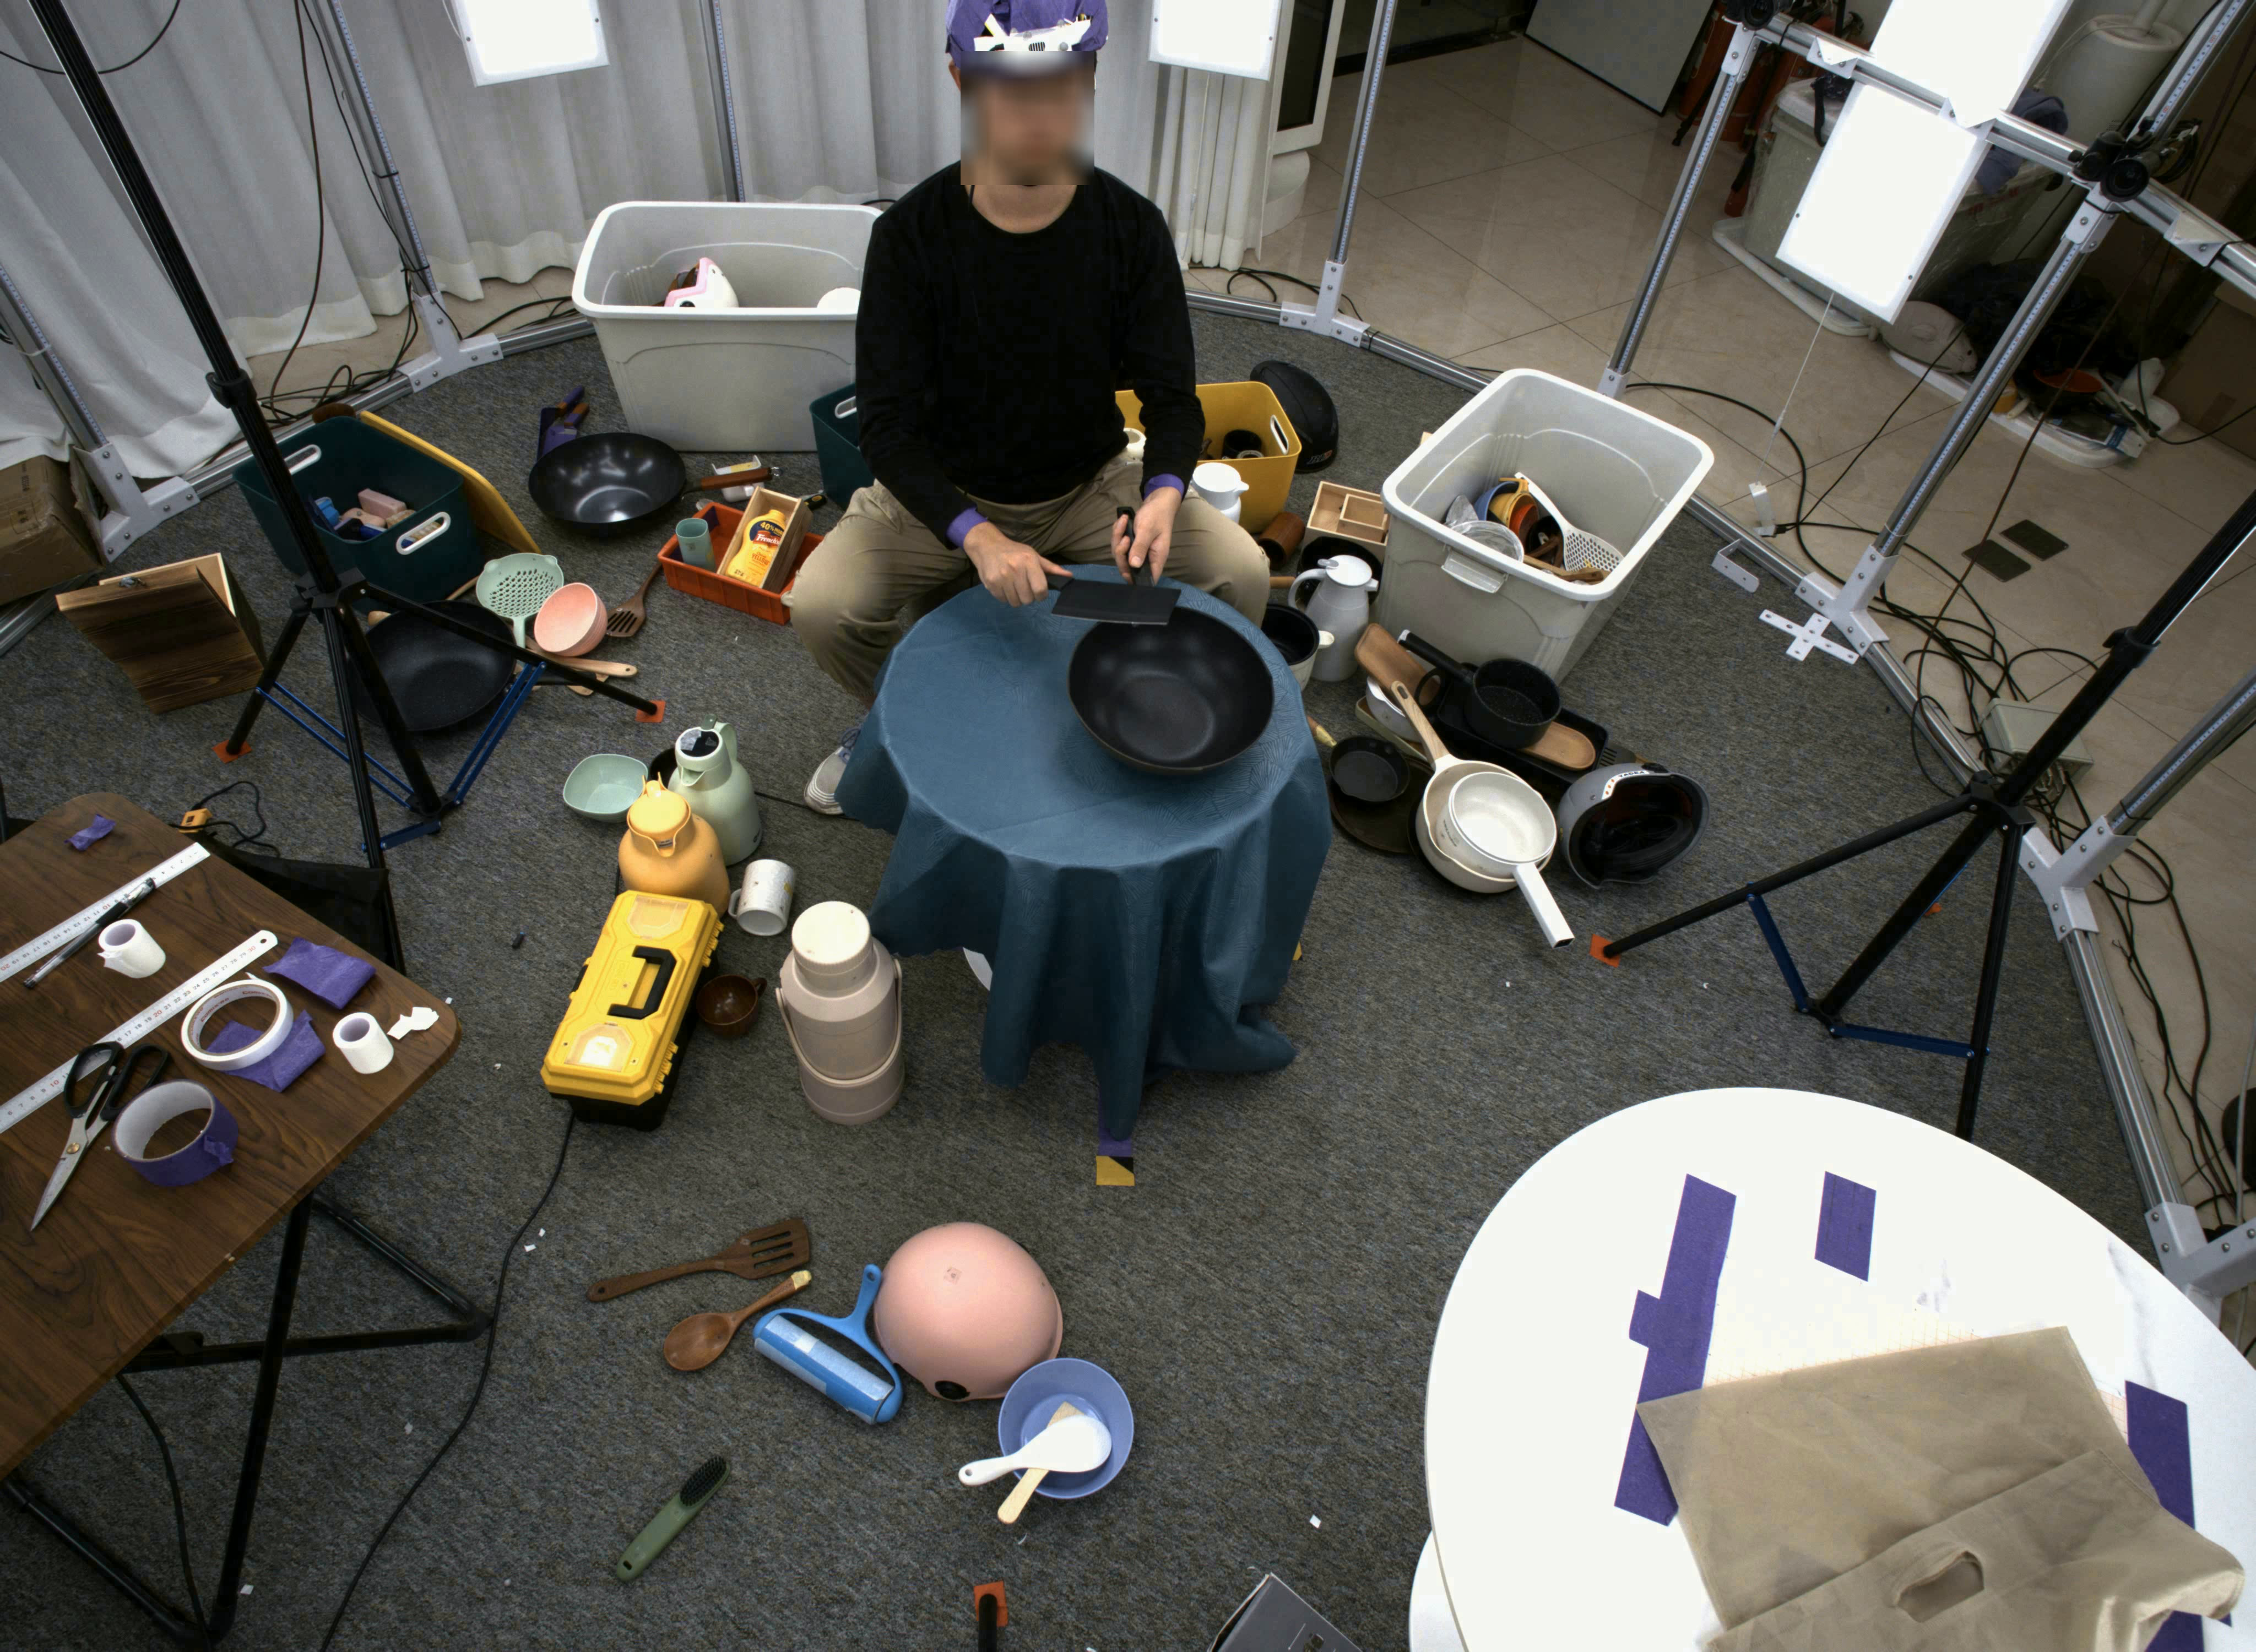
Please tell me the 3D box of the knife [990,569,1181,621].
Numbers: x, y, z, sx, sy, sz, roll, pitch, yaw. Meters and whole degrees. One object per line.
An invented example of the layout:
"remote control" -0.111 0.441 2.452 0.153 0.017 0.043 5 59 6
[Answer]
"knife" -0.066 -0.325 1.797 0.305 0.020 0.082 15 64 30

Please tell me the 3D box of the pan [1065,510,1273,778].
"pan" 0.035 -0.248 1.801 0.287 0.085 0.474 -5 58 -12
